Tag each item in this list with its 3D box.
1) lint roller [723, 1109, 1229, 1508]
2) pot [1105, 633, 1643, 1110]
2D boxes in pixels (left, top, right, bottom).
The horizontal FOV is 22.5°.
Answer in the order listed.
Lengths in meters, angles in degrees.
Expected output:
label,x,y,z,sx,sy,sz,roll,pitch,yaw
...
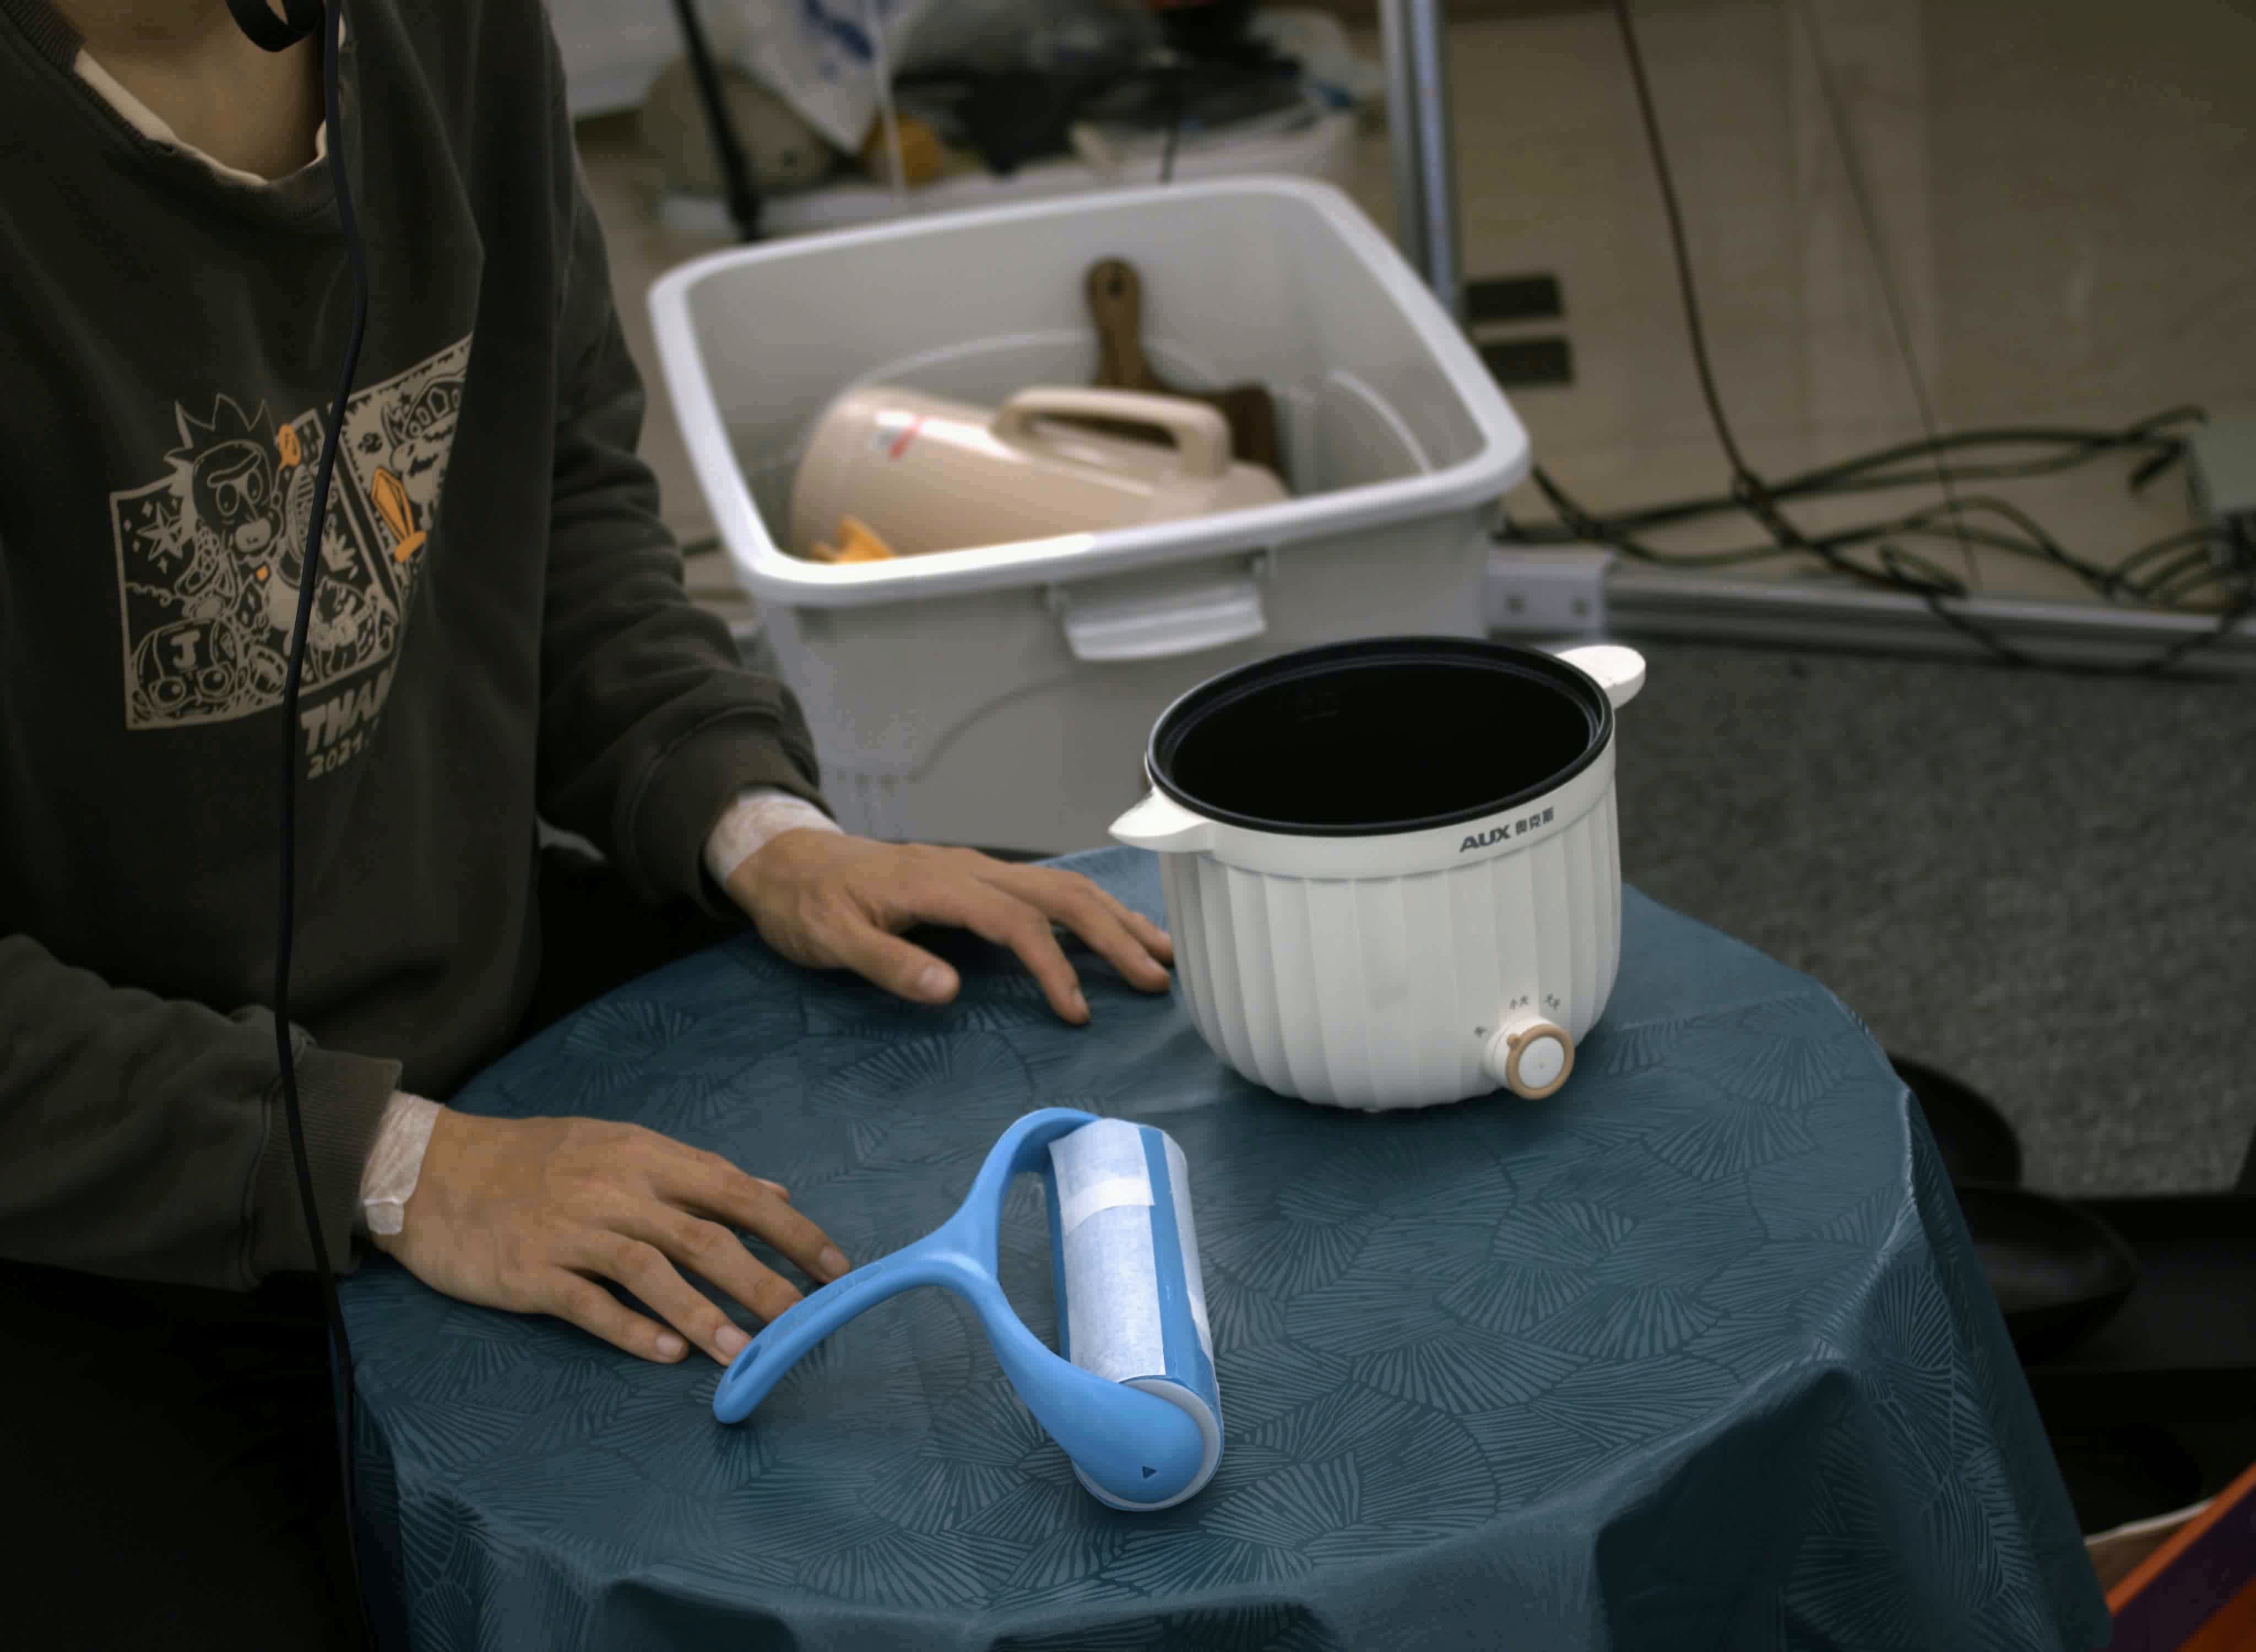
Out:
label,x,y,z,sx,sy,sz,roll,pitch,yaw
lint roller,-0.057,0.176,2.013,0.180,0.069,0.225,-7,26,-3
pot,0.107,0.023,2.202,0.239,0.145,0.188,-20,26,-24
